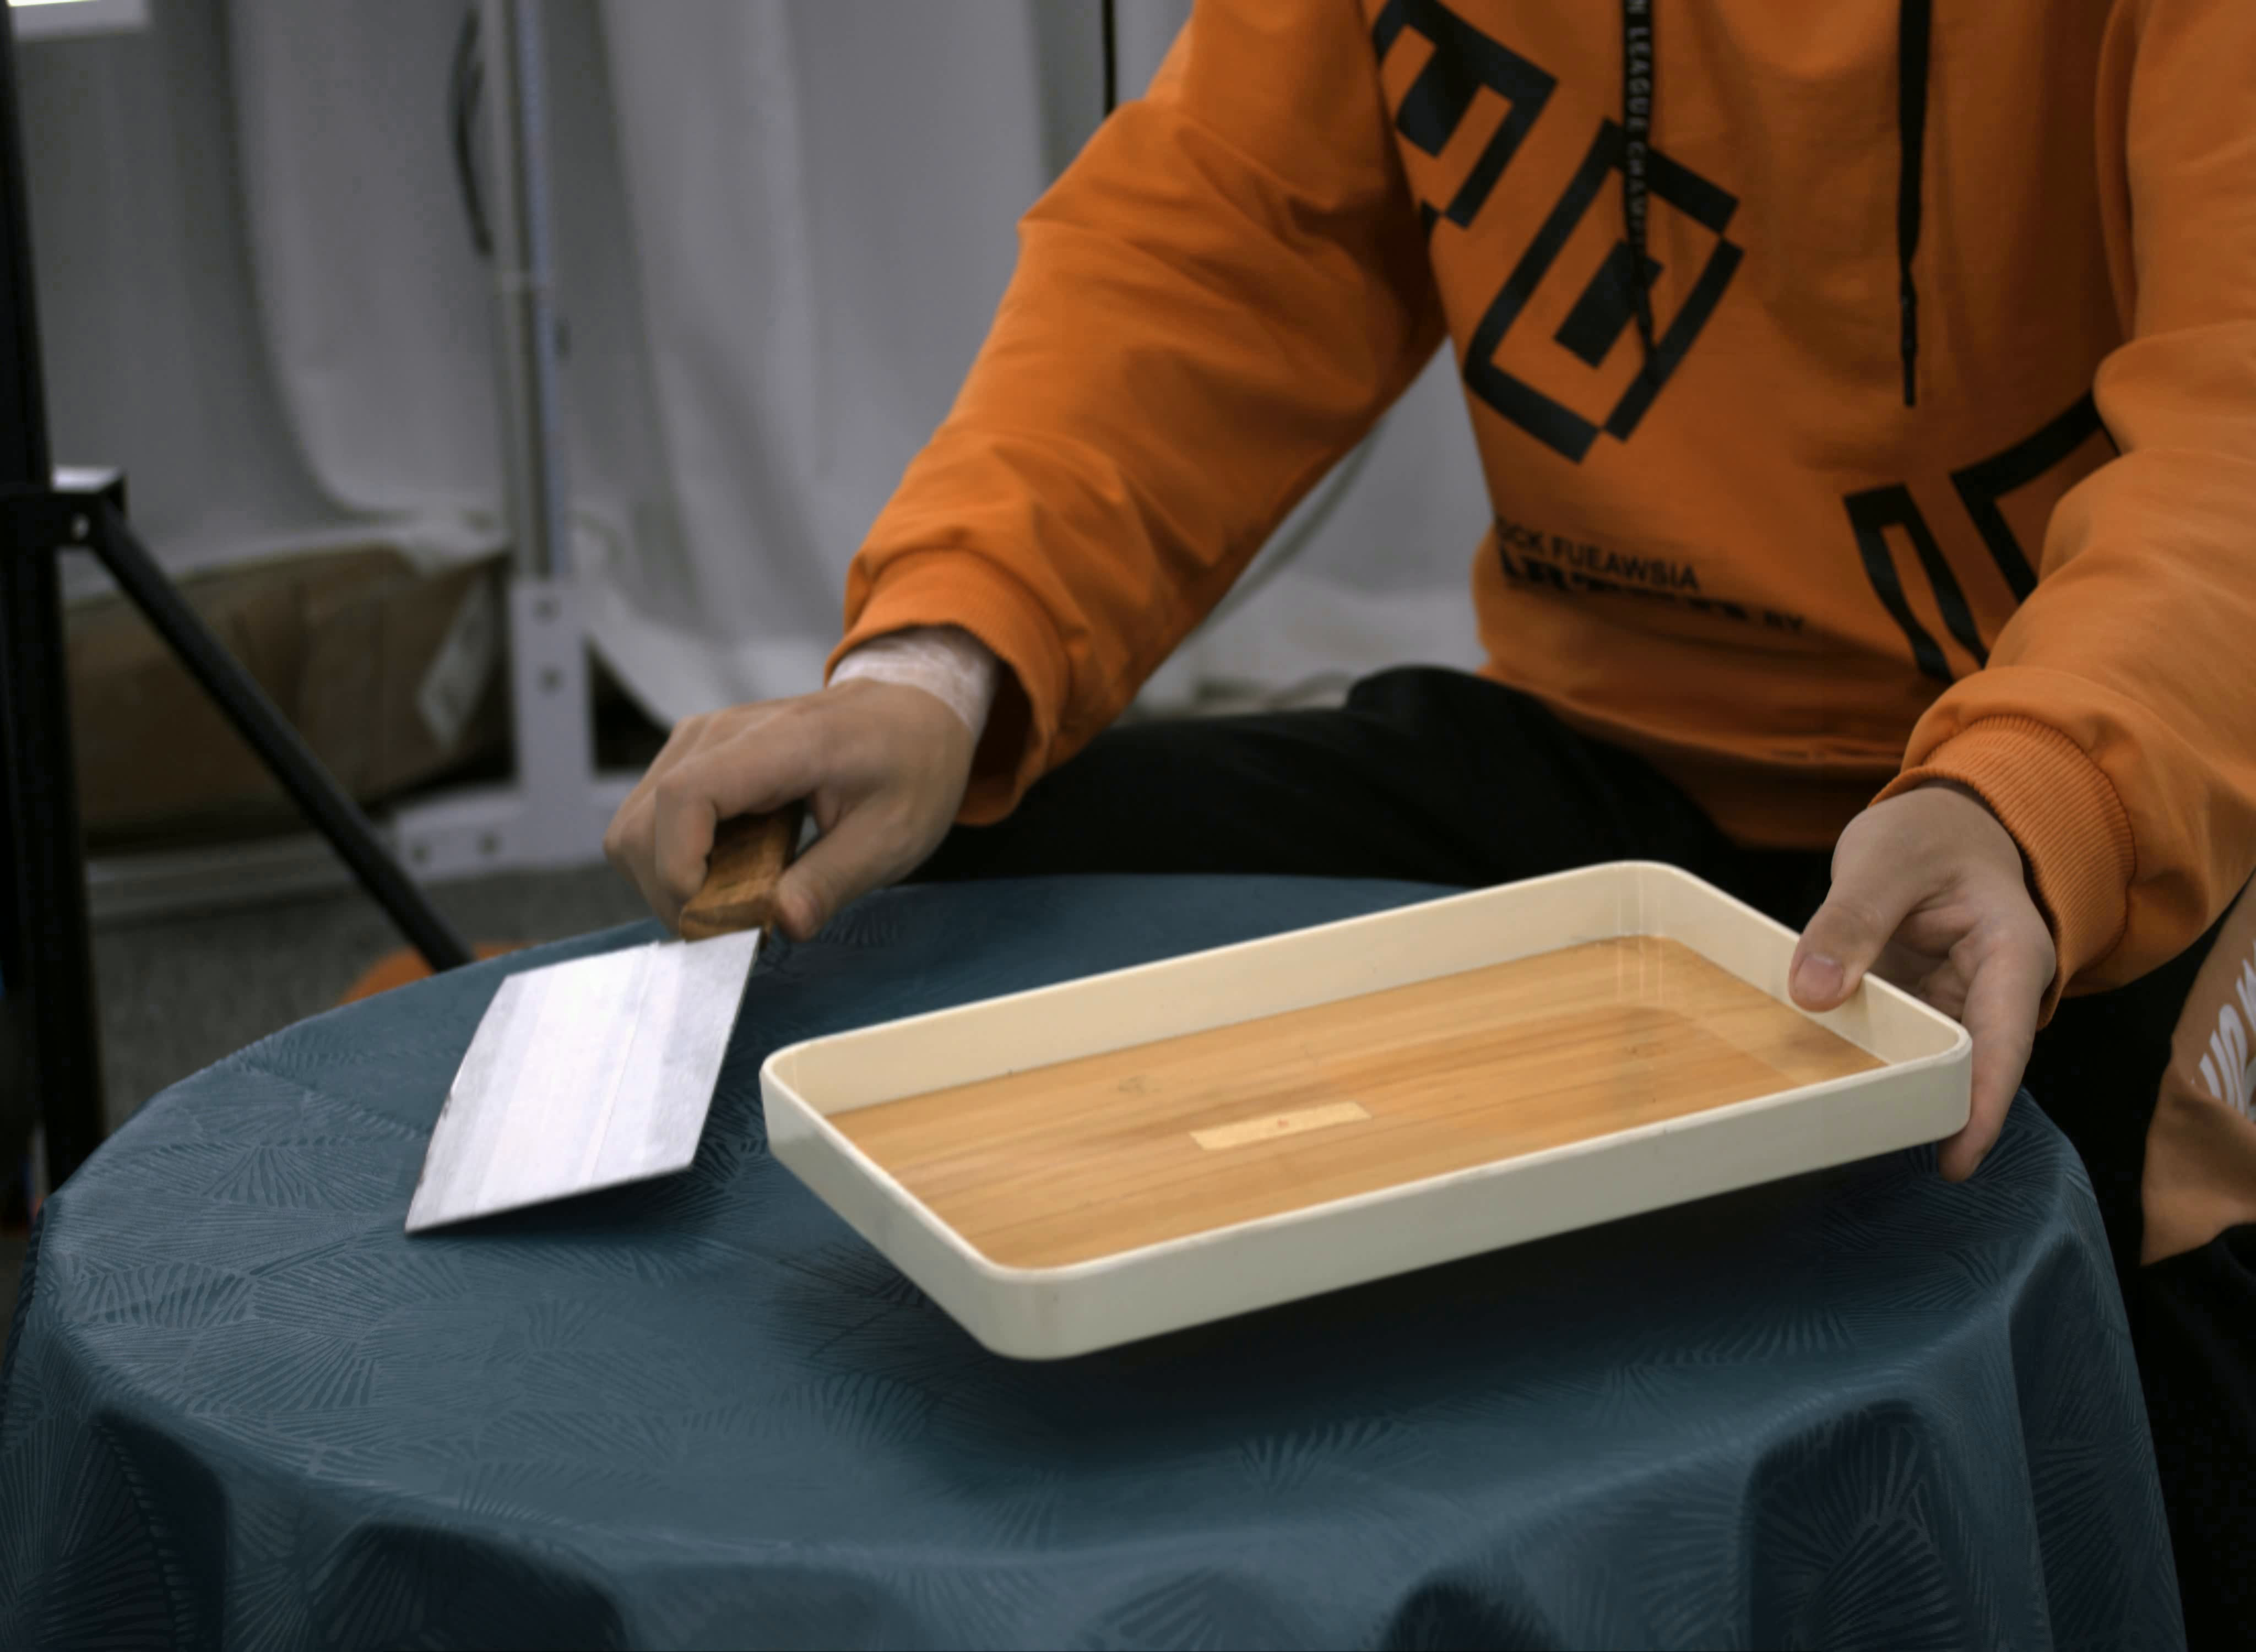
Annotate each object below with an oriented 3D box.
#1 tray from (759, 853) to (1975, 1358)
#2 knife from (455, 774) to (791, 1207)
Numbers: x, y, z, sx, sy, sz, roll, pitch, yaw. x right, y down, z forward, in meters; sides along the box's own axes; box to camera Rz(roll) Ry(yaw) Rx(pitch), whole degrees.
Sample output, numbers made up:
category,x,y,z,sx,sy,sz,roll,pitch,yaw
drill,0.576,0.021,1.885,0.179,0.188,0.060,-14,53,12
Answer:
category,x,y,z,sx,sy,sz,roll,pitch,yaw
tray,0.065,0.073,1.477,0.295,0.027,0.195,-12,21,-21
knife,-0.159,0.051,1.685,0.093,0.021,0.306,-14,20,8
